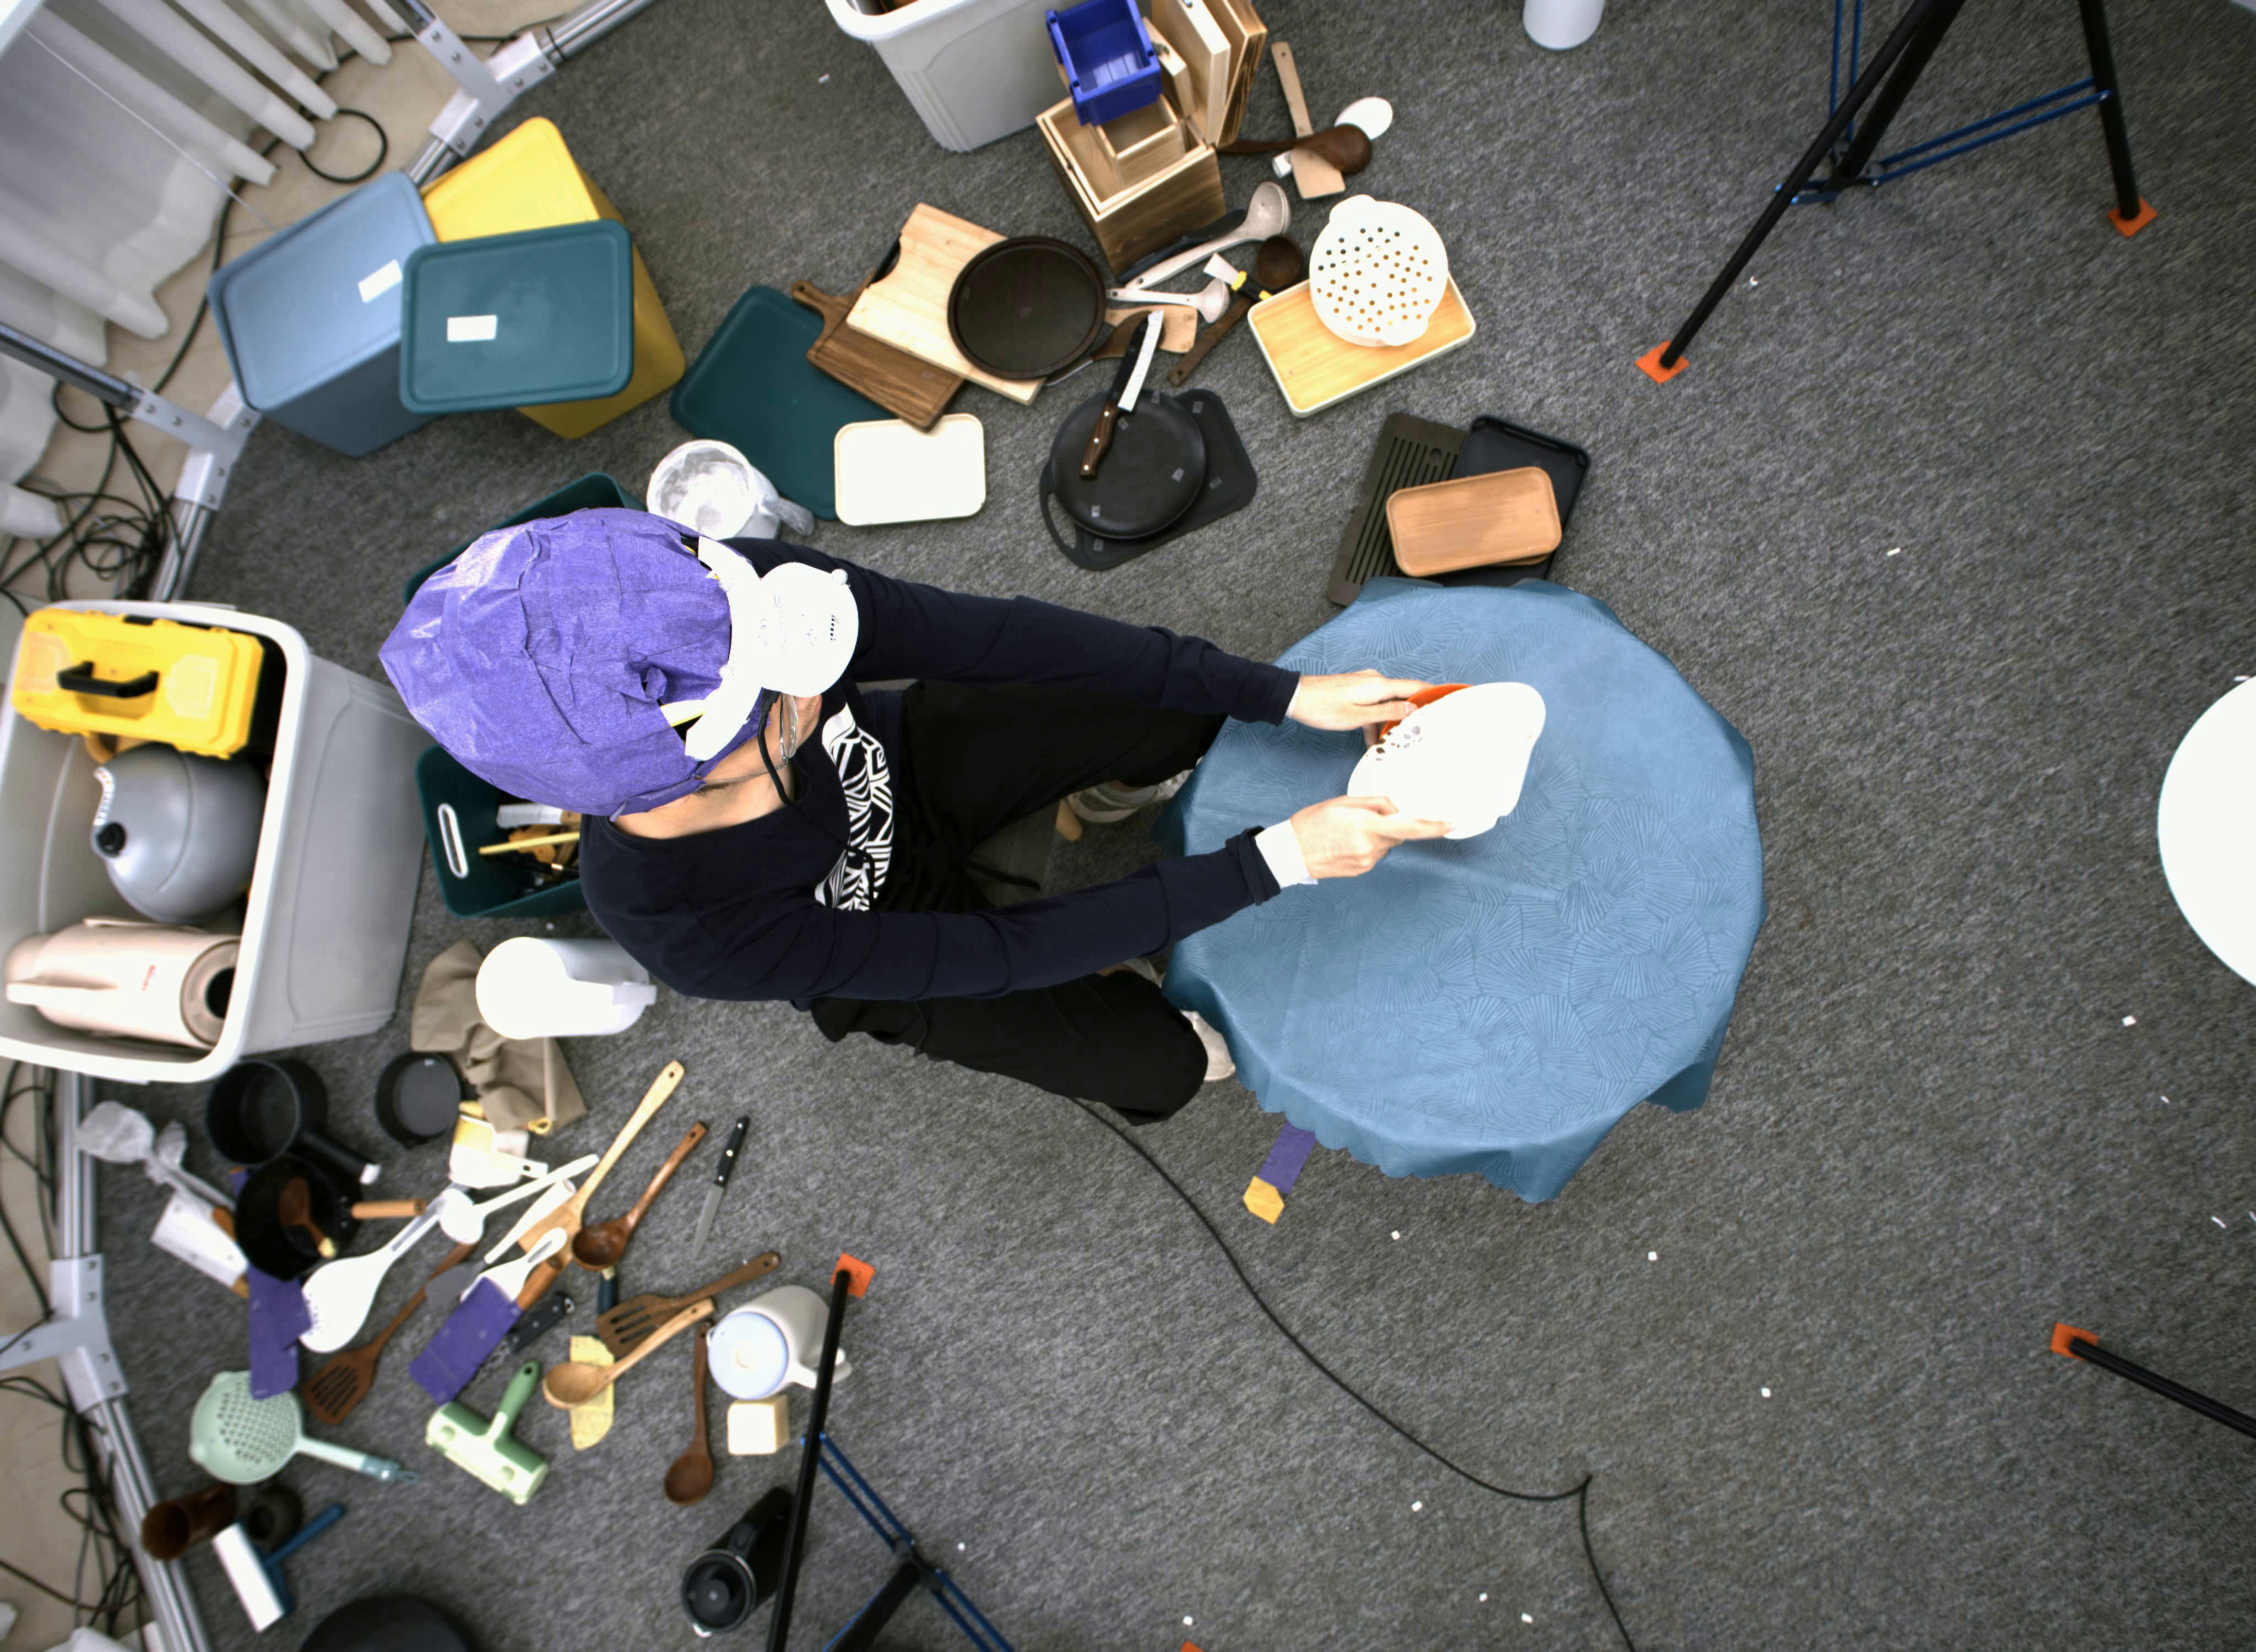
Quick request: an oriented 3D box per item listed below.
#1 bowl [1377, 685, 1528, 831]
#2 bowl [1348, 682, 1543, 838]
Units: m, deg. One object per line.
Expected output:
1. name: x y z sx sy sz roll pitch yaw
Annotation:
1. bowl: 0.330 -0.065 1.406 0.149 0.104 0.147 -1 86 13
2. bowl: 0.316 -0.047 1.300 0.205 0.201 0.079 -36 109 5
